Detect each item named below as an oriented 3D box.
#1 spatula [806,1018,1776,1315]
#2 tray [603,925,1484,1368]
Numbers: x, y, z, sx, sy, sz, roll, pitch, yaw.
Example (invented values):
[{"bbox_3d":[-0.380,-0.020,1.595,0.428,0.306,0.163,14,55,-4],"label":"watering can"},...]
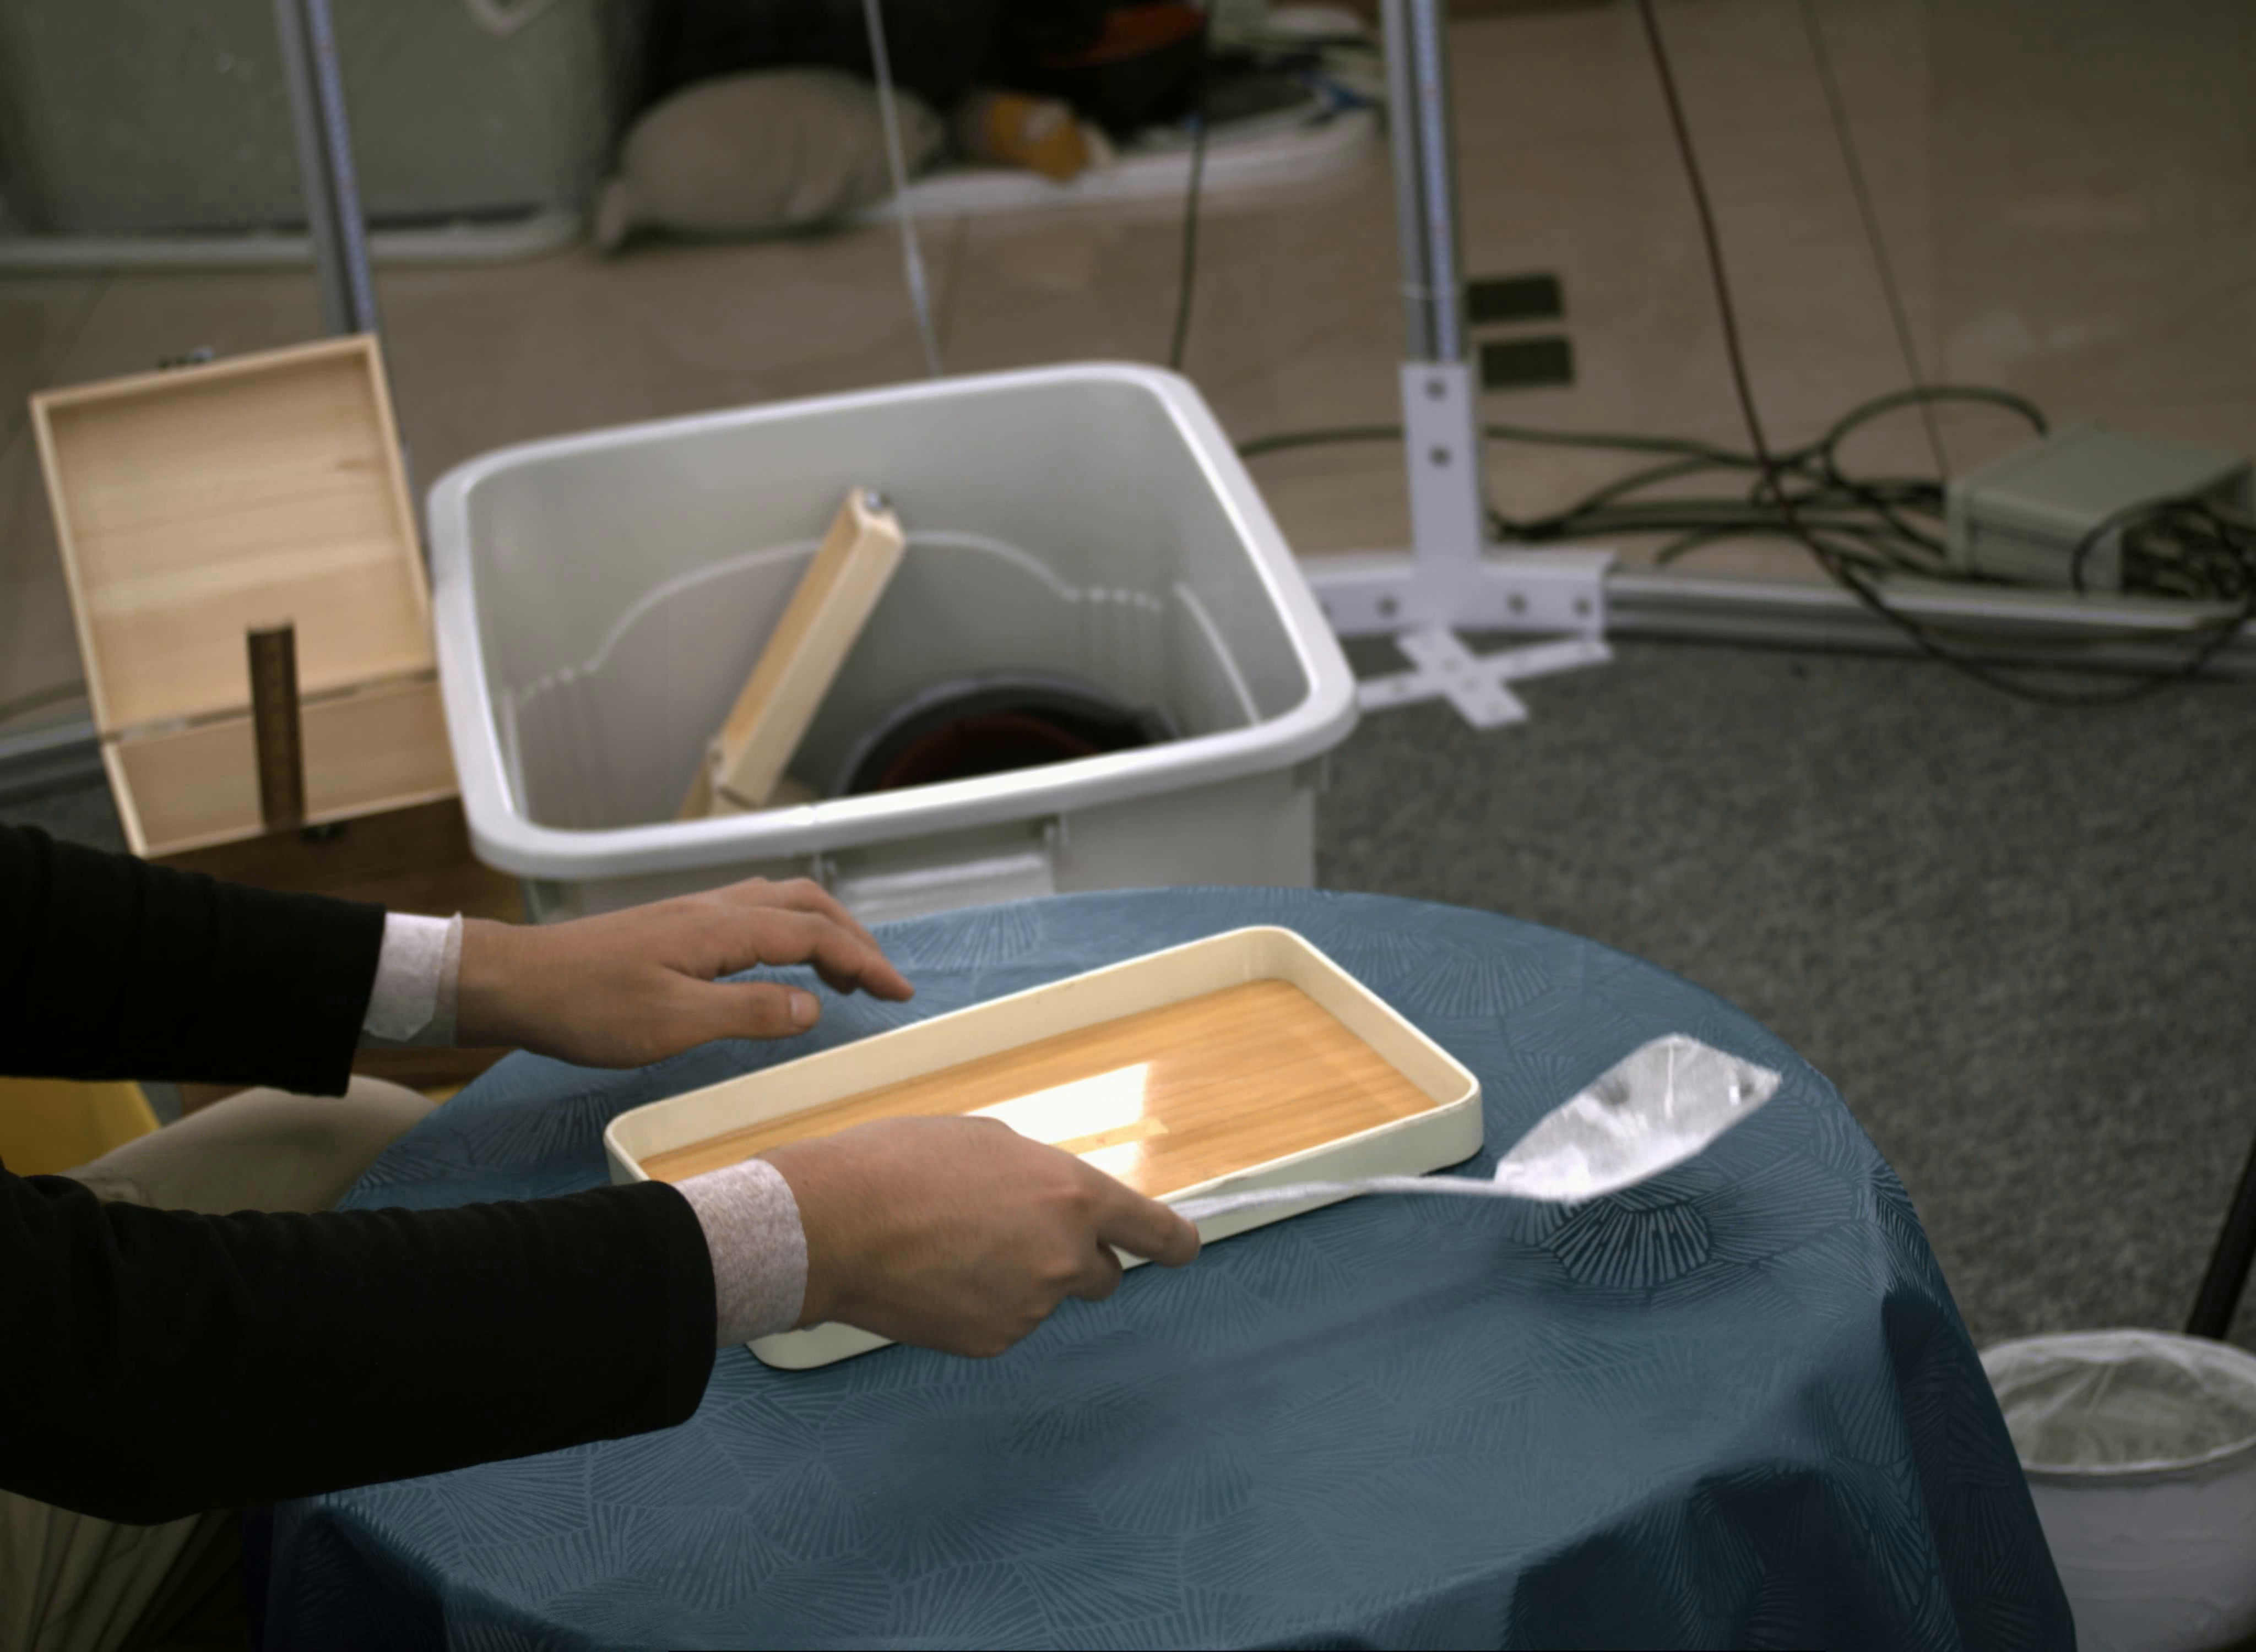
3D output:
[{"bbox_3d":[0.059,0.123,2.020,0.364,0.045,0.098,-9,13,-20],"label":"spatula"},{"bbox_3d":[-0.033,0.119,2.168,0.299,0.028,0.189,-16,26,-19],"label":"tray"}]
